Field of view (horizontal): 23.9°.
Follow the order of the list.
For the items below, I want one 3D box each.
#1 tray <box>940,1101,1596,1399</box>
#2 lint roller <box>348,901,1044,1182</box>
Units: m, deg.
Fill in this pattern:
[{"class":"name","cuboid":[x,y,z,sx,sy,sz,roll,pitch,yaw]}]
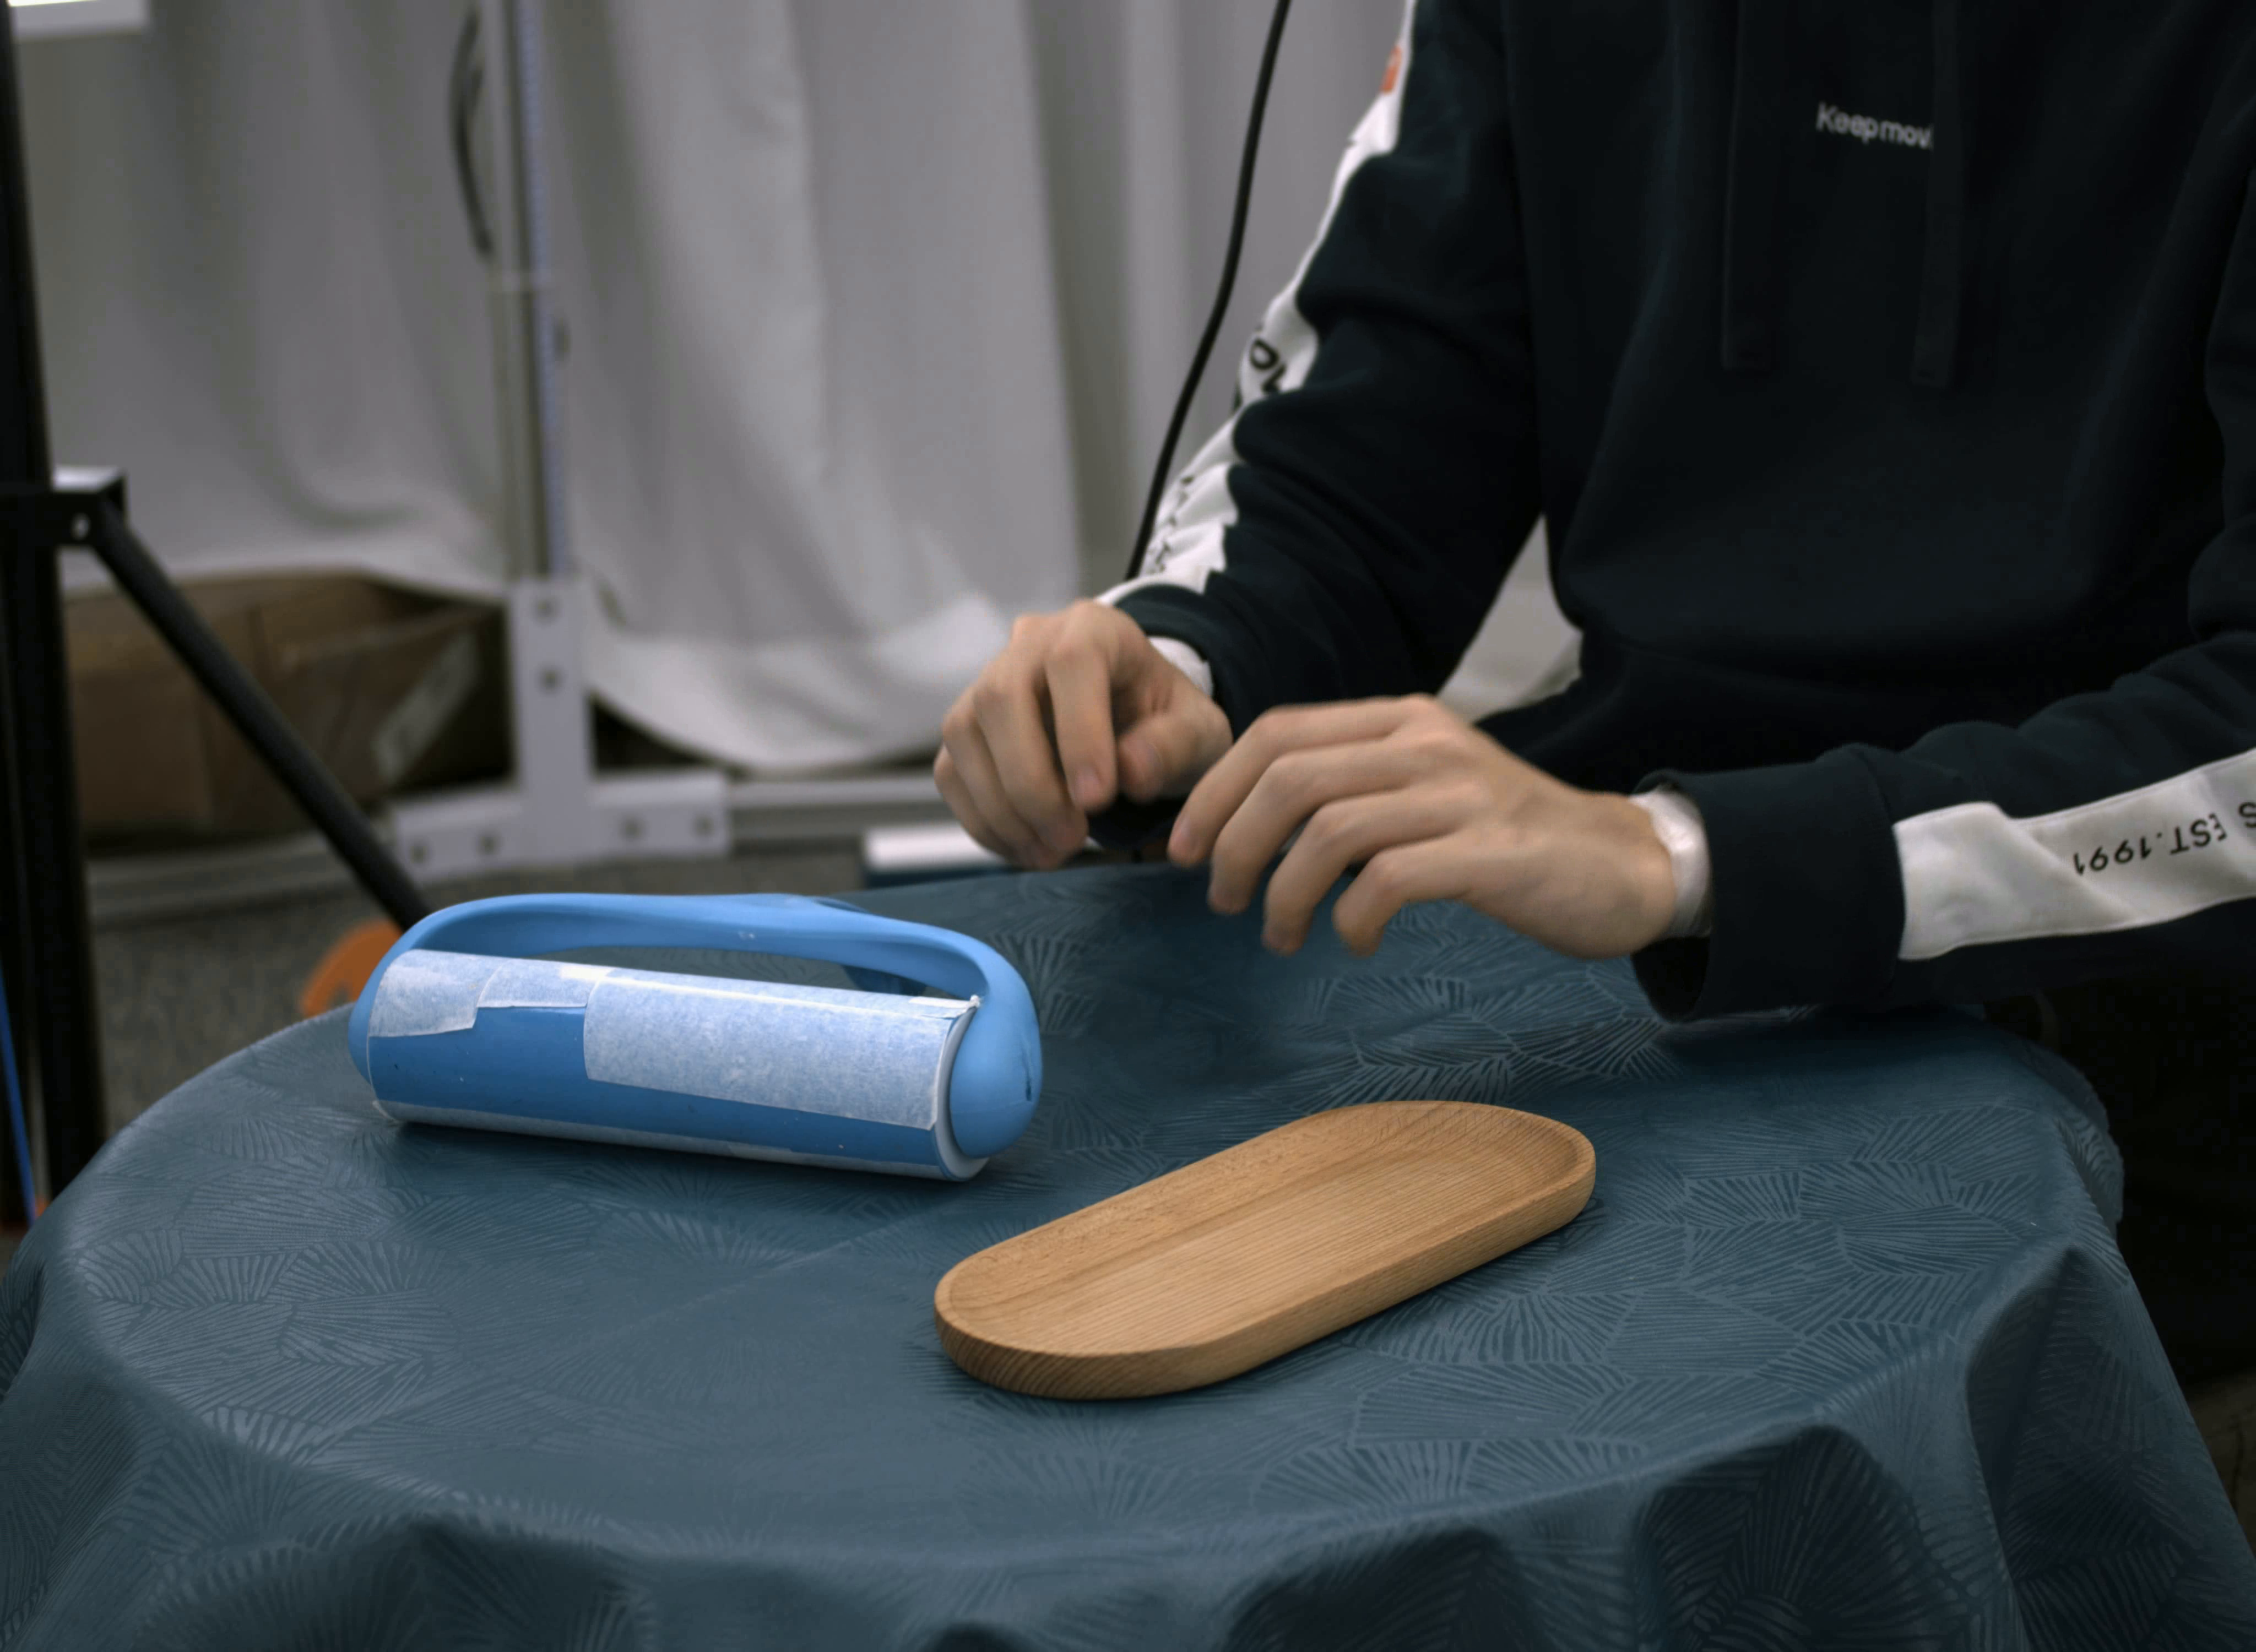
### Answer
[{"class":"tray","cuboid":[0.042,0.117,1.489,0.104,0.020,0.226,13,21,41]},{"class":"lint roller","cuboid":[-0.113,0.054,1.662,0.232,0.068,0.178,2,17,22]}]
